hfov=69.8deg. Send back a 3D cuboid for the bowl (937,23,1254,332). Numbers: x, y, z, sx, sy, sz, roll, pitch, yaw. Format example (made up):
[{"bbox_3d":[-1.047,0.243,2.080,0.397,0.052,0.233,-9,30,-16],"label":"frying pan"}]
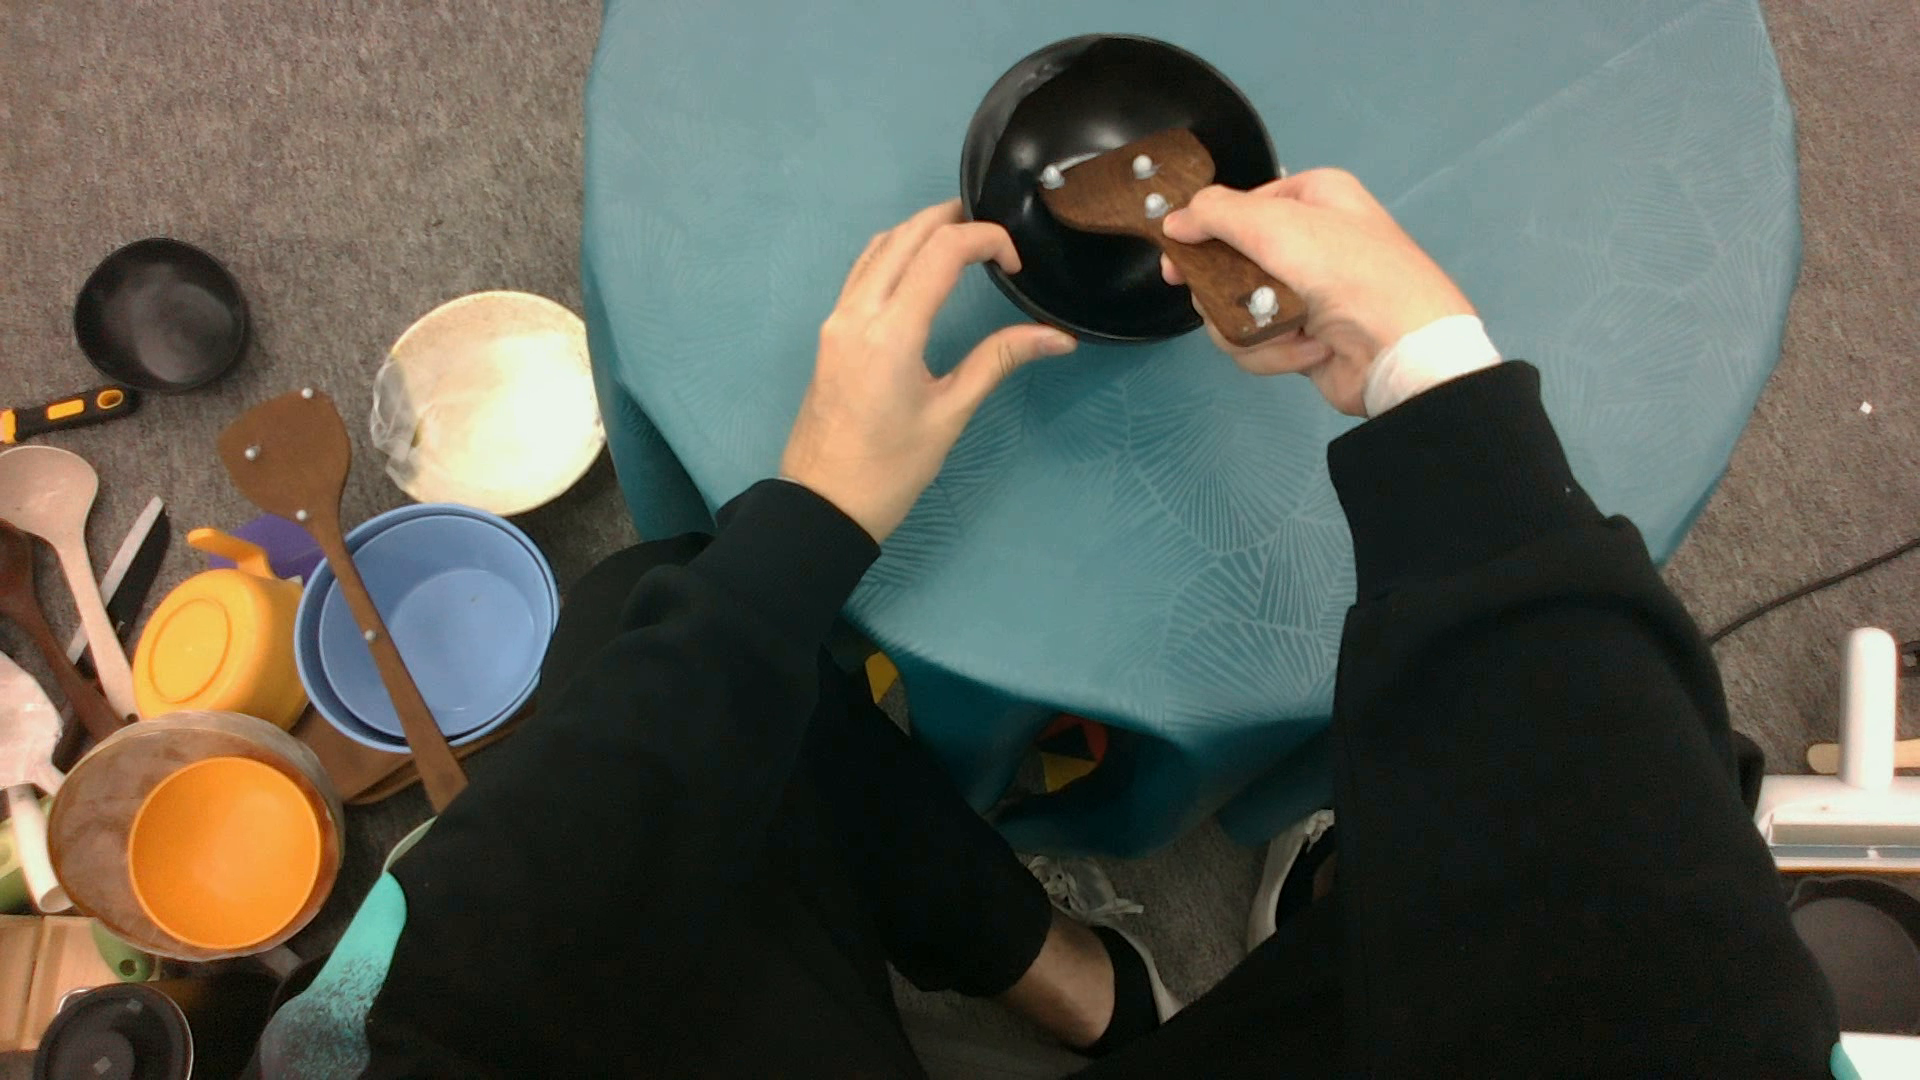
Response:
[{"bbox_3d":[0.055,-0.151,0.605,0.140,0.049,0.140,2,78,-10],"label":"bowl"}]

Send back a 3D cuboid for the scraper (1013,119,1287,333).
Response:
[{"bbox_3d":[0.077,-0.125,0.540,0.076,0.011,0.212,-21,32,0],"label":"scraper"}]
